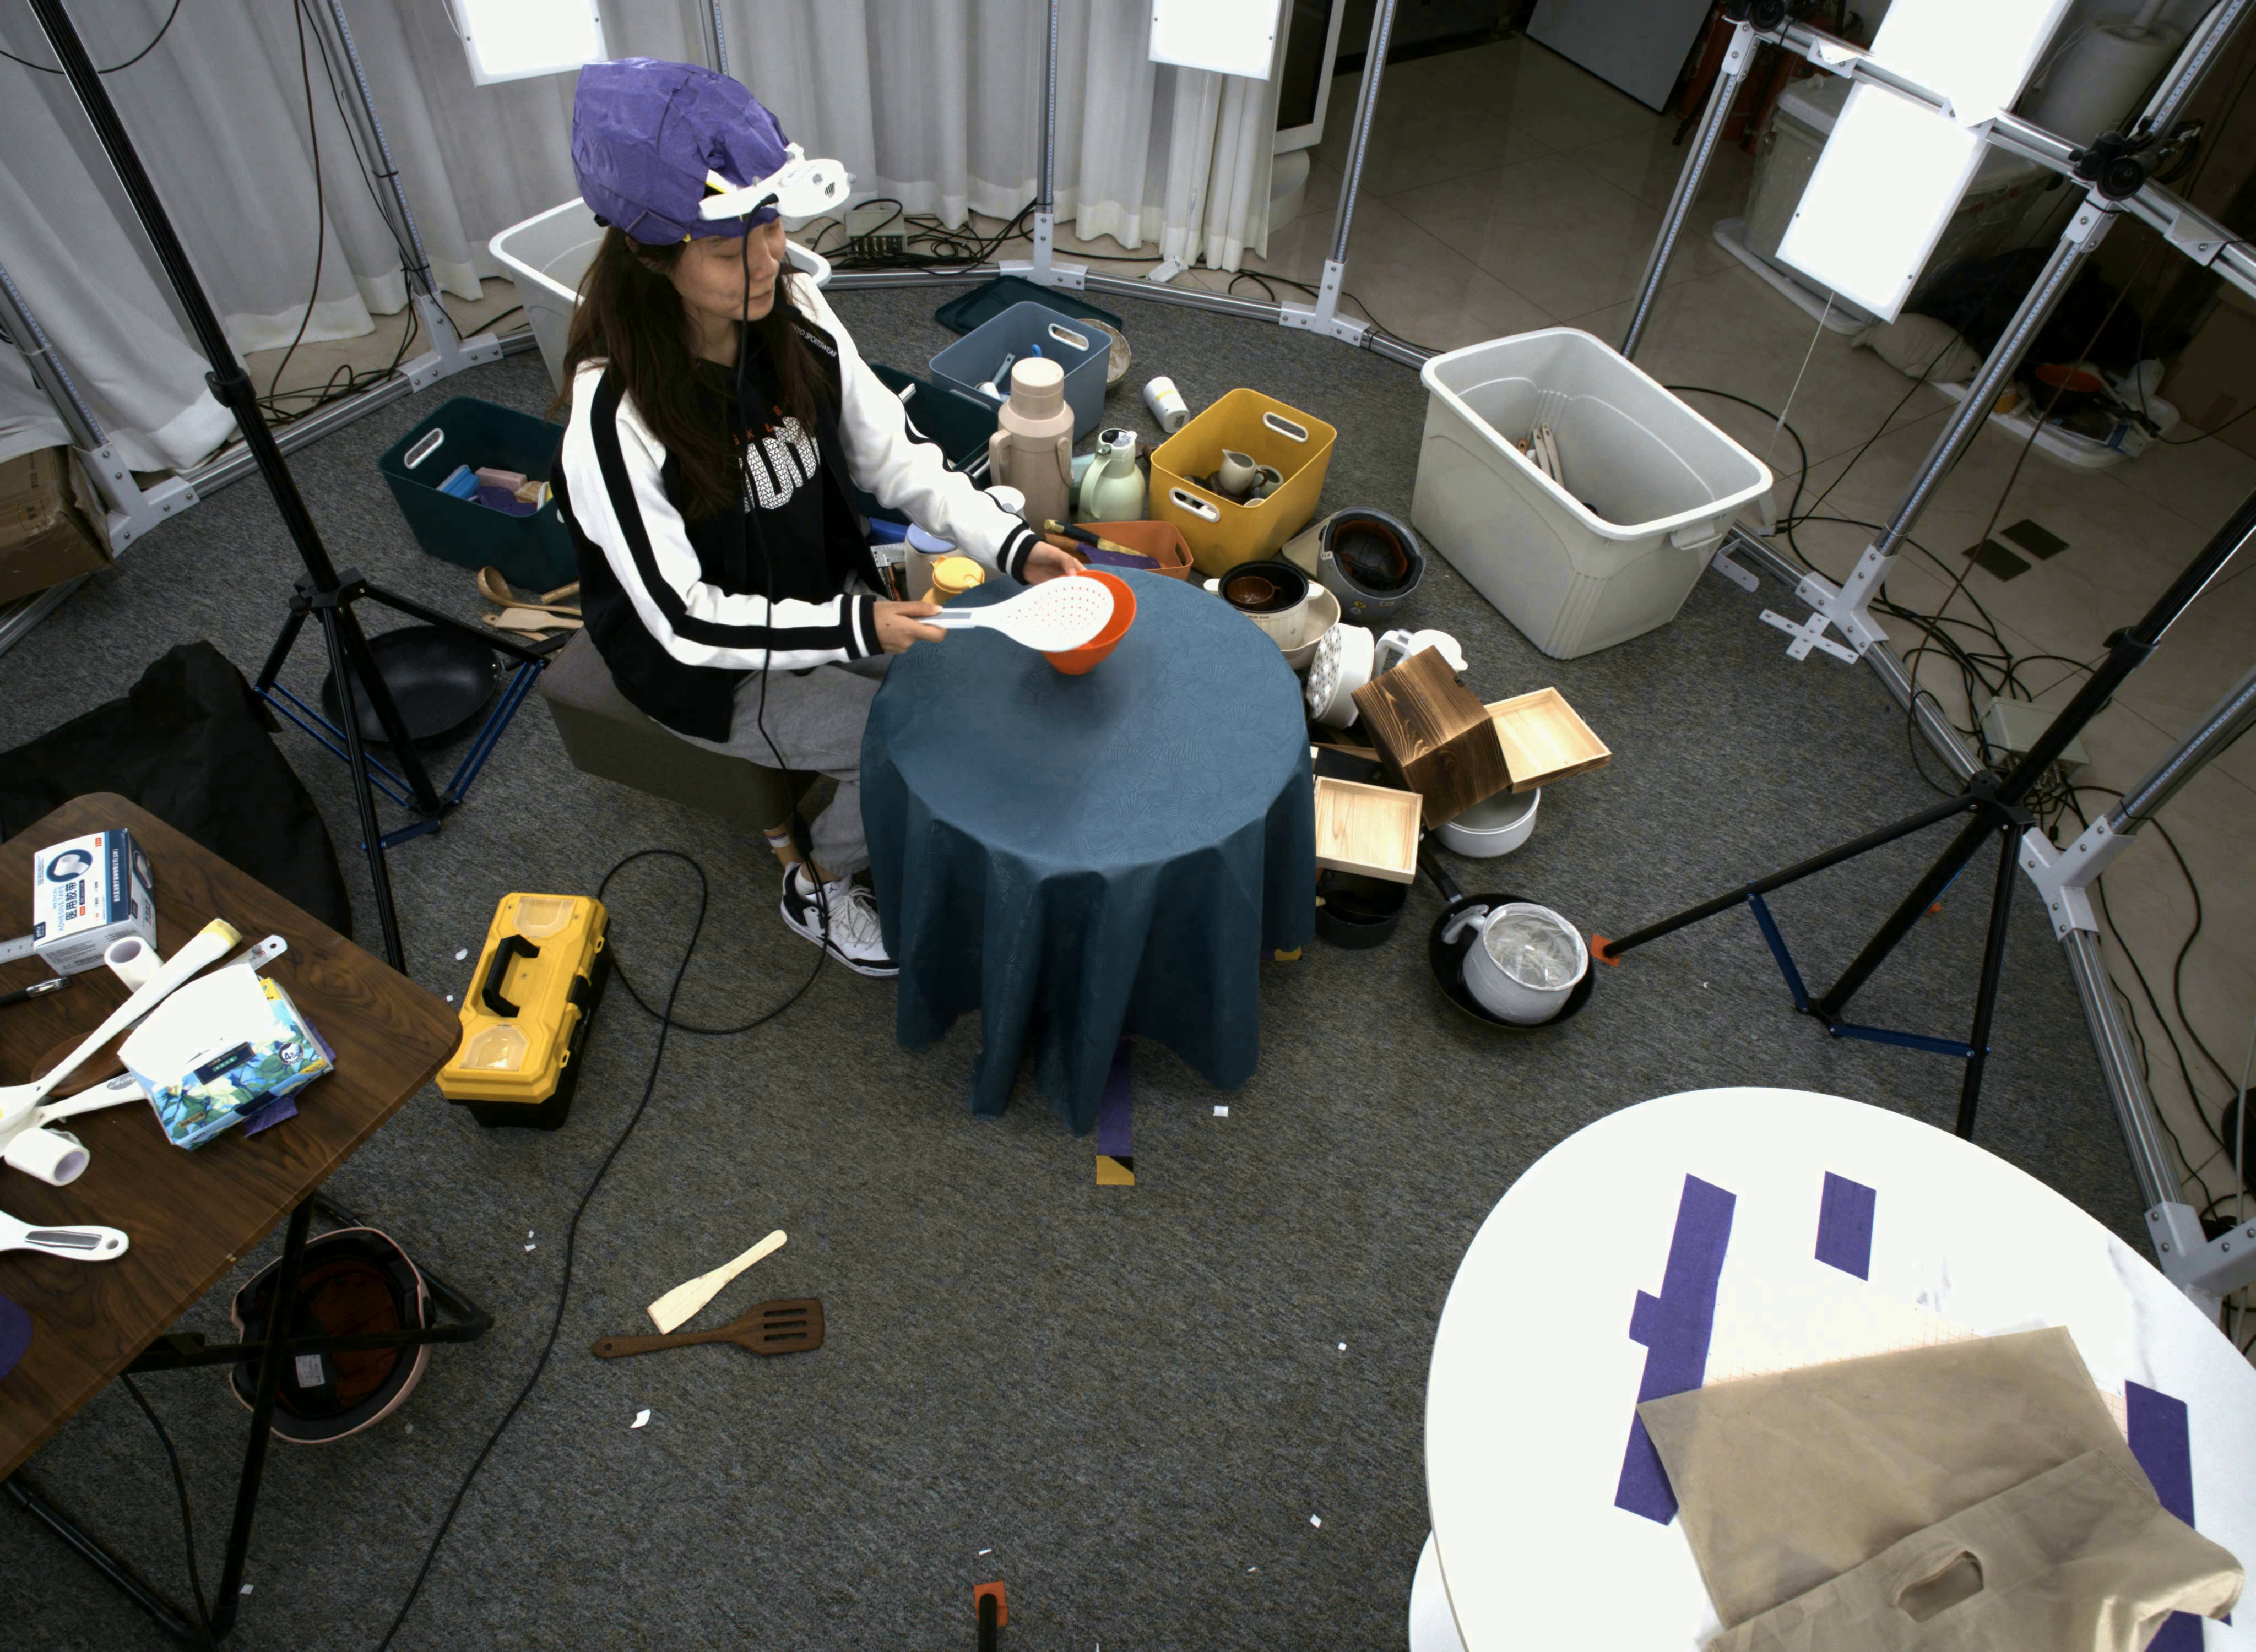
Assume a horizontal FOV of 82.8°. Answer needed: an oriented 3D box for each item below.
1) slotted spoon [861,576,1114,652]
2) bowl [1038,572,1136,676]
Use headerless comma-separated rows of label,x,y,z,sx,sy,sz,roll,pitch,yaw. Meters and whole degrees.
slotted spoon,-0.188,-0.275,1.694,0.350,0.044,0.139,5,52,12
bowl,-0.065,-0.275,1.821,0.148,0.102,0.151,2,52,-3
